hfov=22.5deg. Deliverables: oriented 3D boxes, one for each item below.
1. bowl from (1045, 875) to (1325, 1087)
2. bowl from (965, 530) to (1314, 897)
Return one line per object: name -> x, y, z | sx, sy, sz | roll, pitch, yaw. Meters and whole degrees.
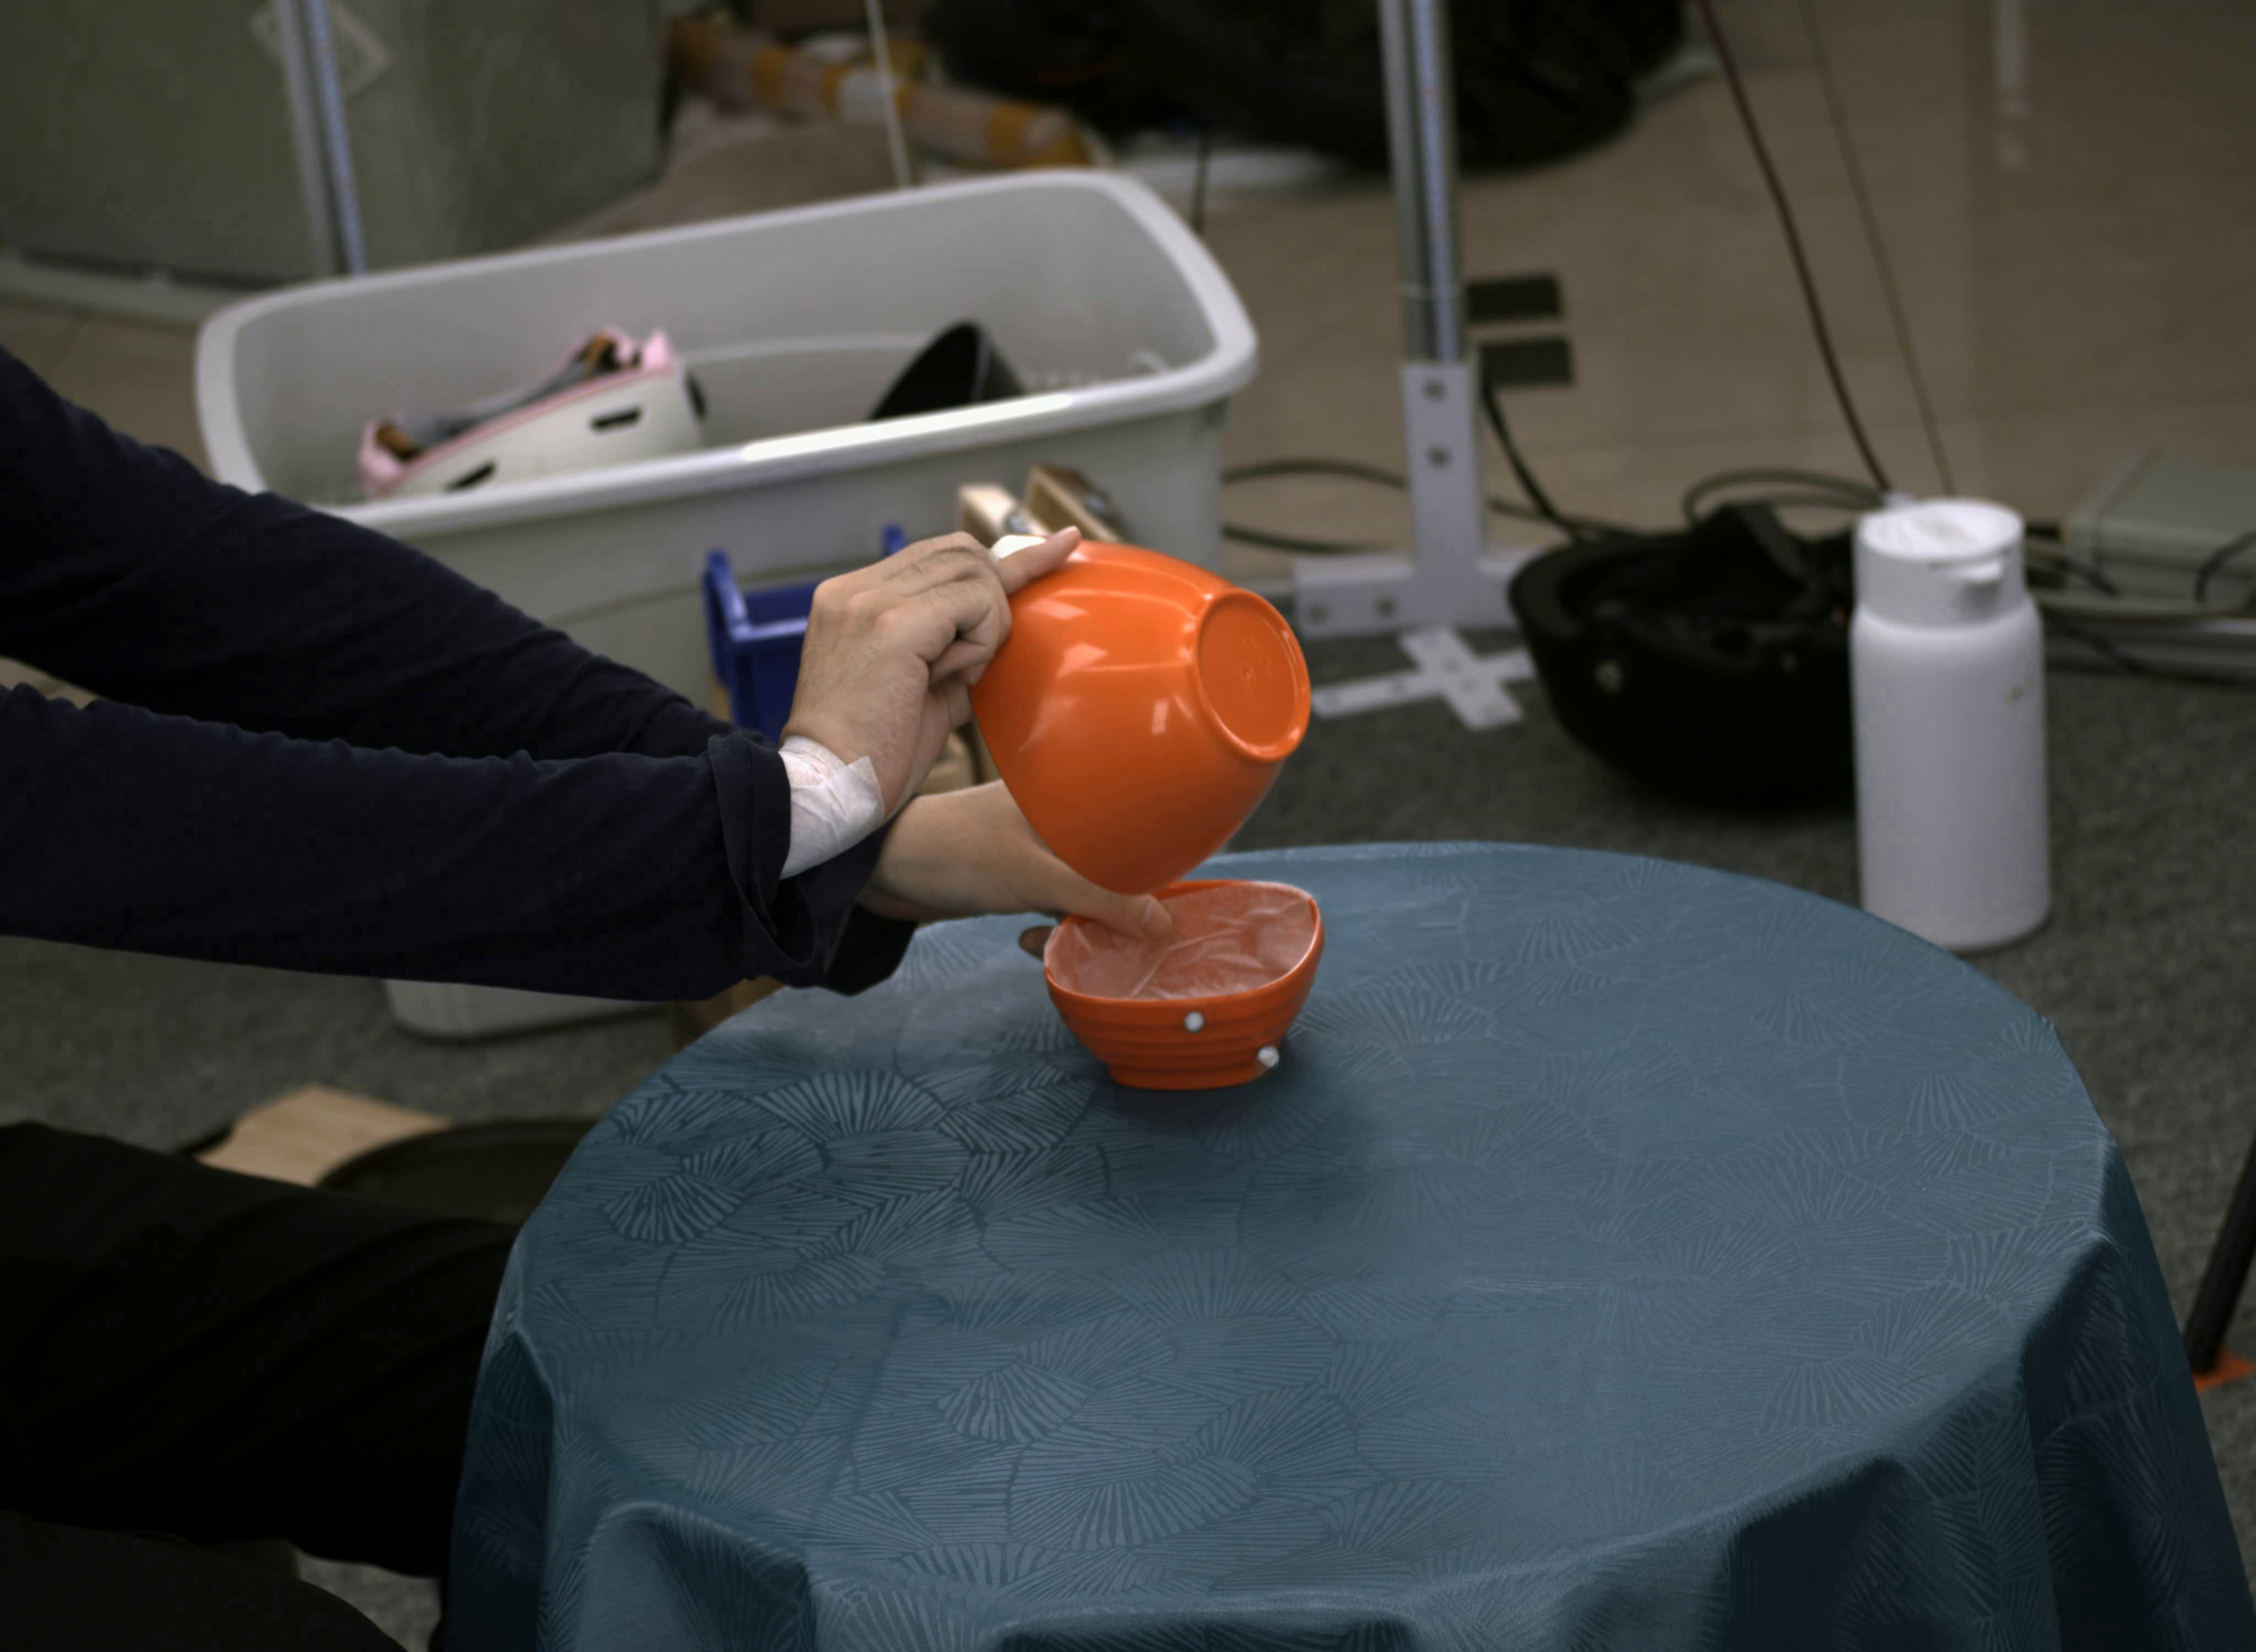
bowl -> 0.024, 0.065, 2.240 | 0.119, 0.052, 0.117 | -4, 26, 2
bowl -> 0.014, -0.052, 2.149 | 0.105, 0.149, 0.146 | -14, 16, 39
